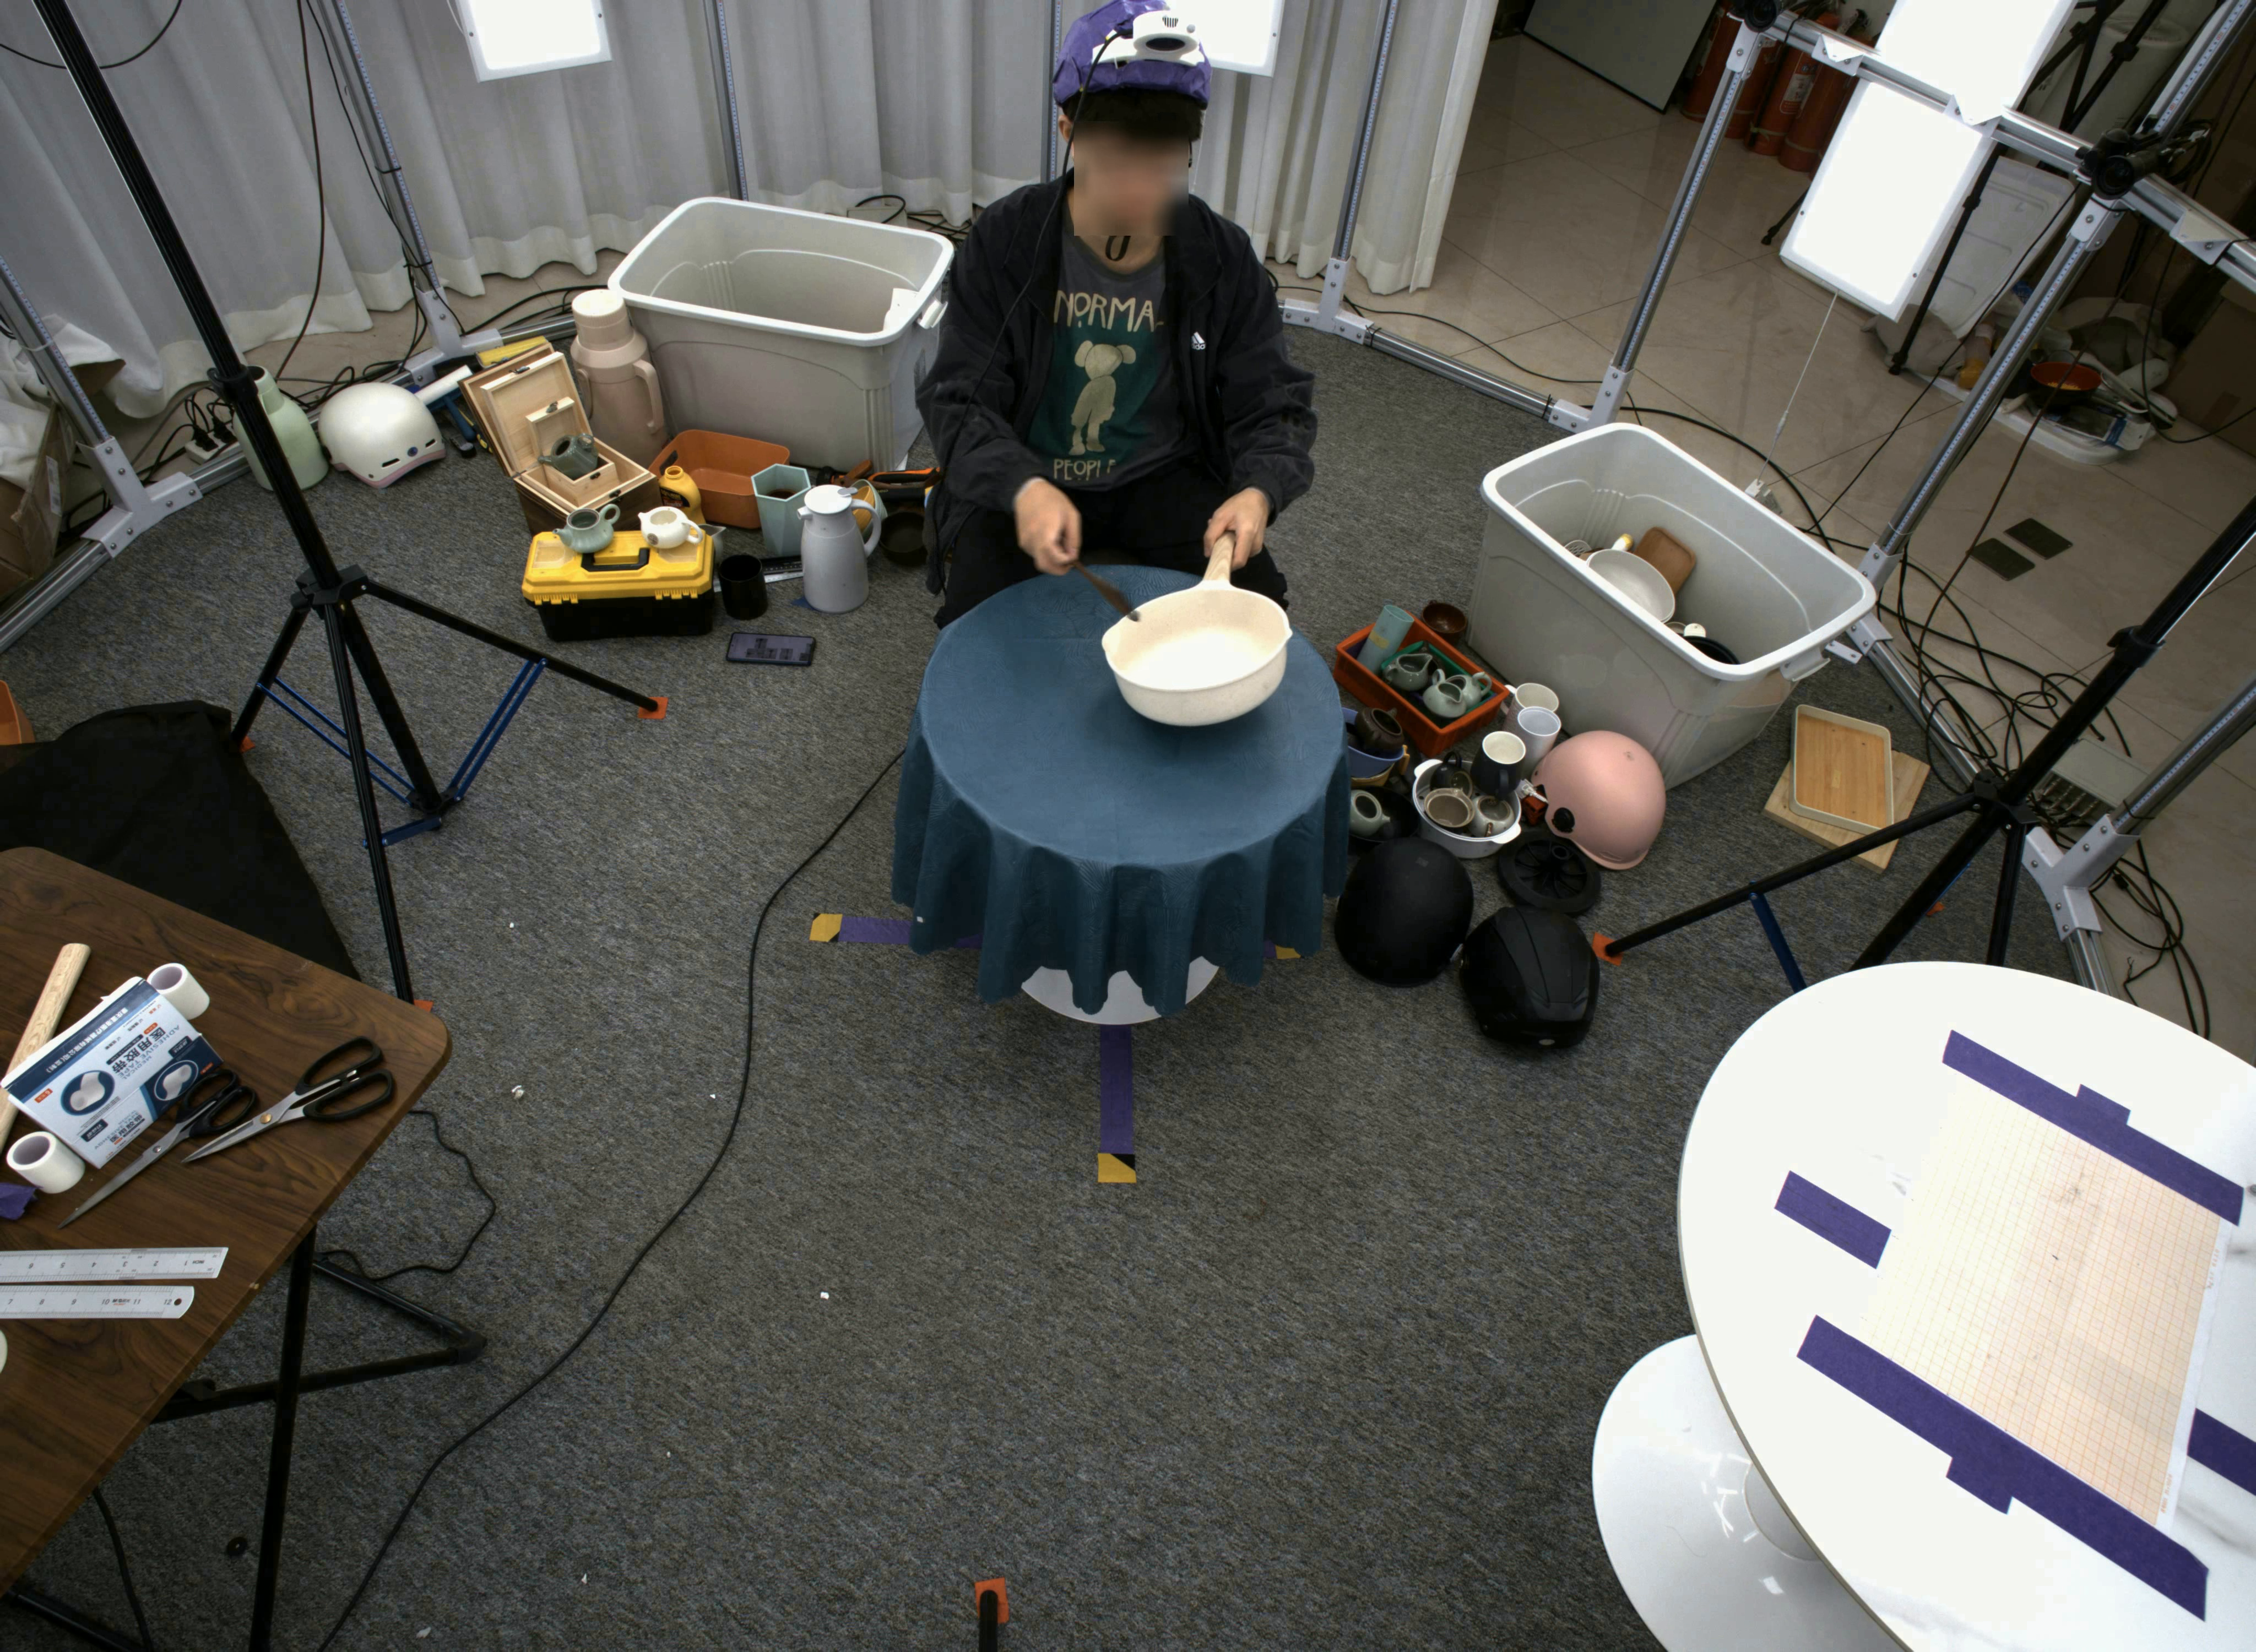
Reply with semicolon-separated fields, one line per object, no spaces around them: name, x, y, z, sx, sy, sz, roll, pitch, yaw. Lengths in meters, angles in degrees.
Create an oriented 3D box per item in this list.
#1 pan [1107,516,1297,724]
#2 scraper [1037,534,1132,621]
pan;0.124;-0.295;1.830;0.264;0.099;0.444;-1;39;17
scraper;-0.066;-0.345;1.756;0.011;0.074;0.216;-45;51;4
